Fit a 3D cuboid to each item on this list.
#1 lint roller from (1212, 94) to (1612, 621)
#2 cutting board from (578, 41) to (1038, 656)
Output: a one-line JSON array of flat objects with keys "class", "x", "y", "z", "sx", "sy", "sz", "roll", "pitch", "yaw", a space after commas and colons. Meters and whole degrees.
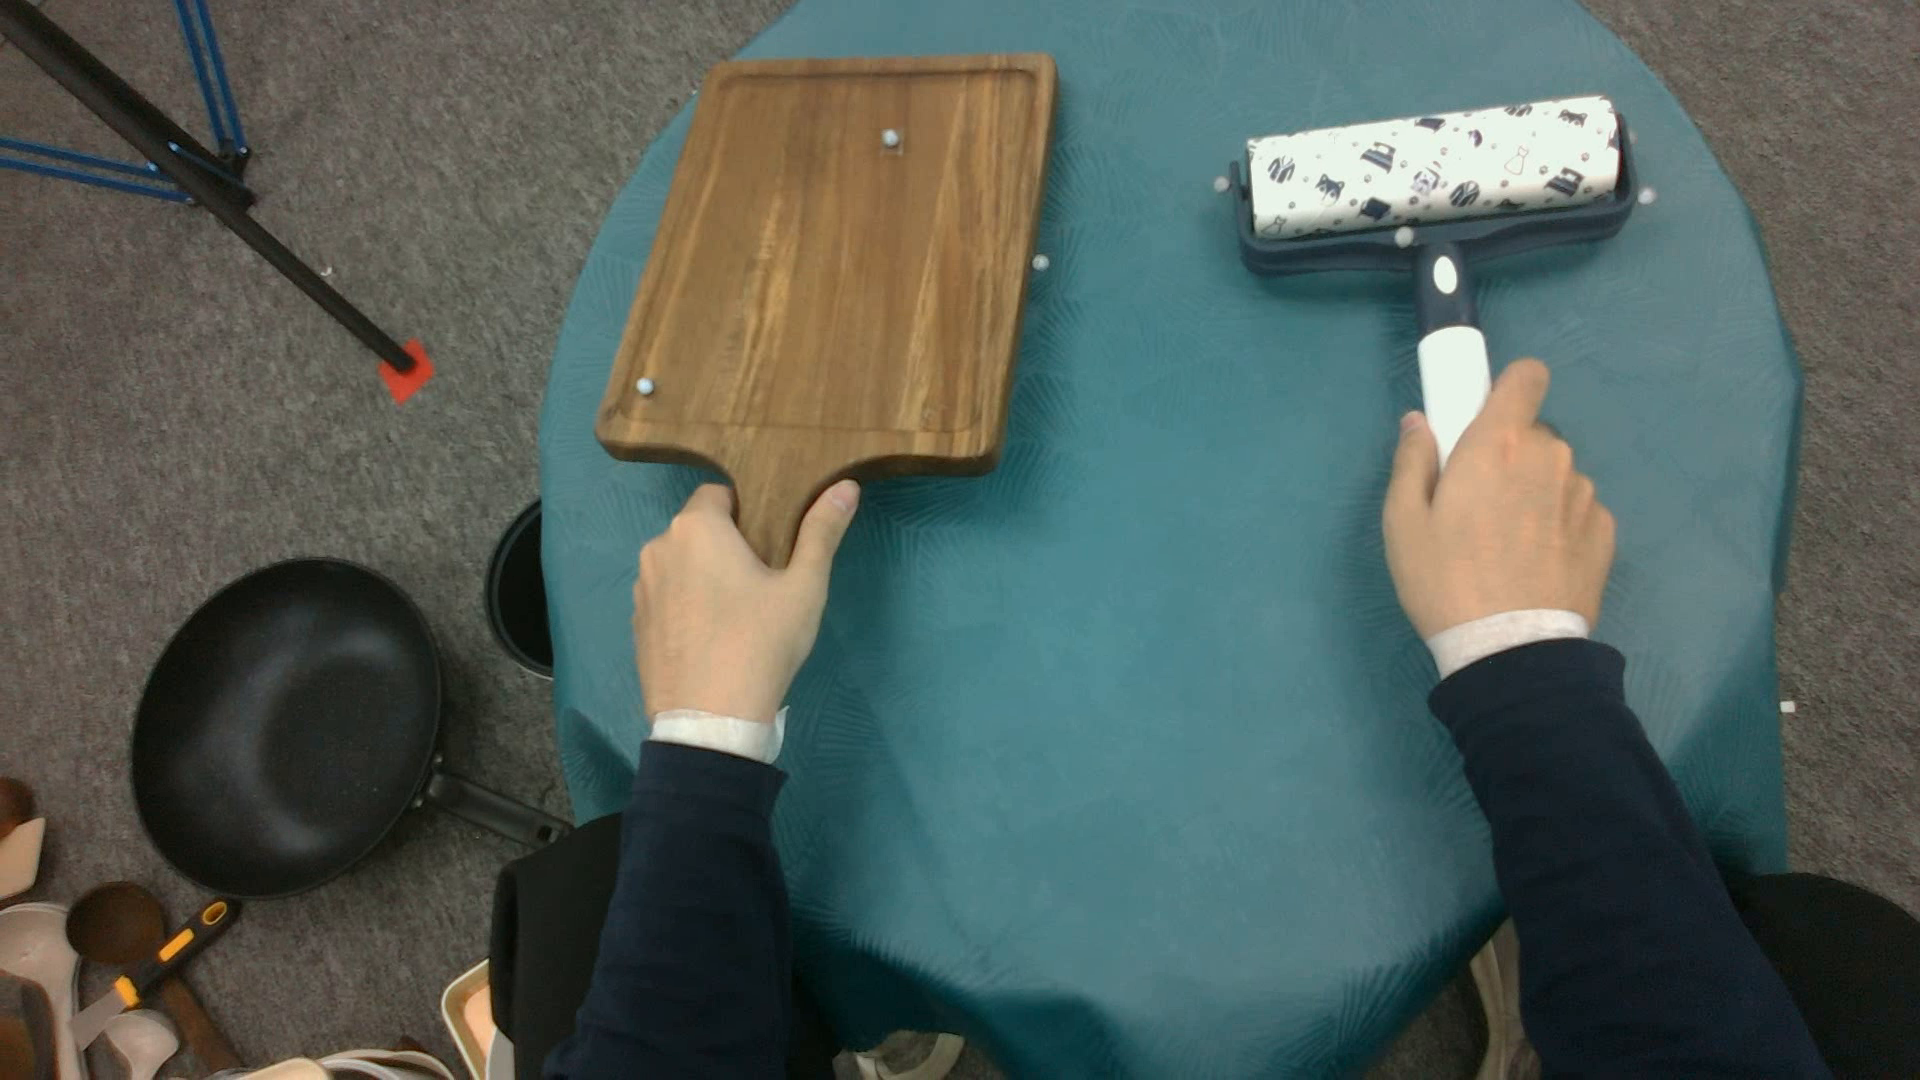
[{"class": "lint roller", "x": 0.212, "y": -0.086, "z": 0.612, "sx": 0.176, "sy": 0.050, "sz": 0.248, "roll": -5, "pitch": 67, "yaw": 8}, {"class": "cutting board", "x": -0.076, "y": -0.109, "z": 0.668, "sx": 0.201, "sy": 0.023, "sz": 0.353, "roll": 2, "pitch": 62, "yaw": 12}]
